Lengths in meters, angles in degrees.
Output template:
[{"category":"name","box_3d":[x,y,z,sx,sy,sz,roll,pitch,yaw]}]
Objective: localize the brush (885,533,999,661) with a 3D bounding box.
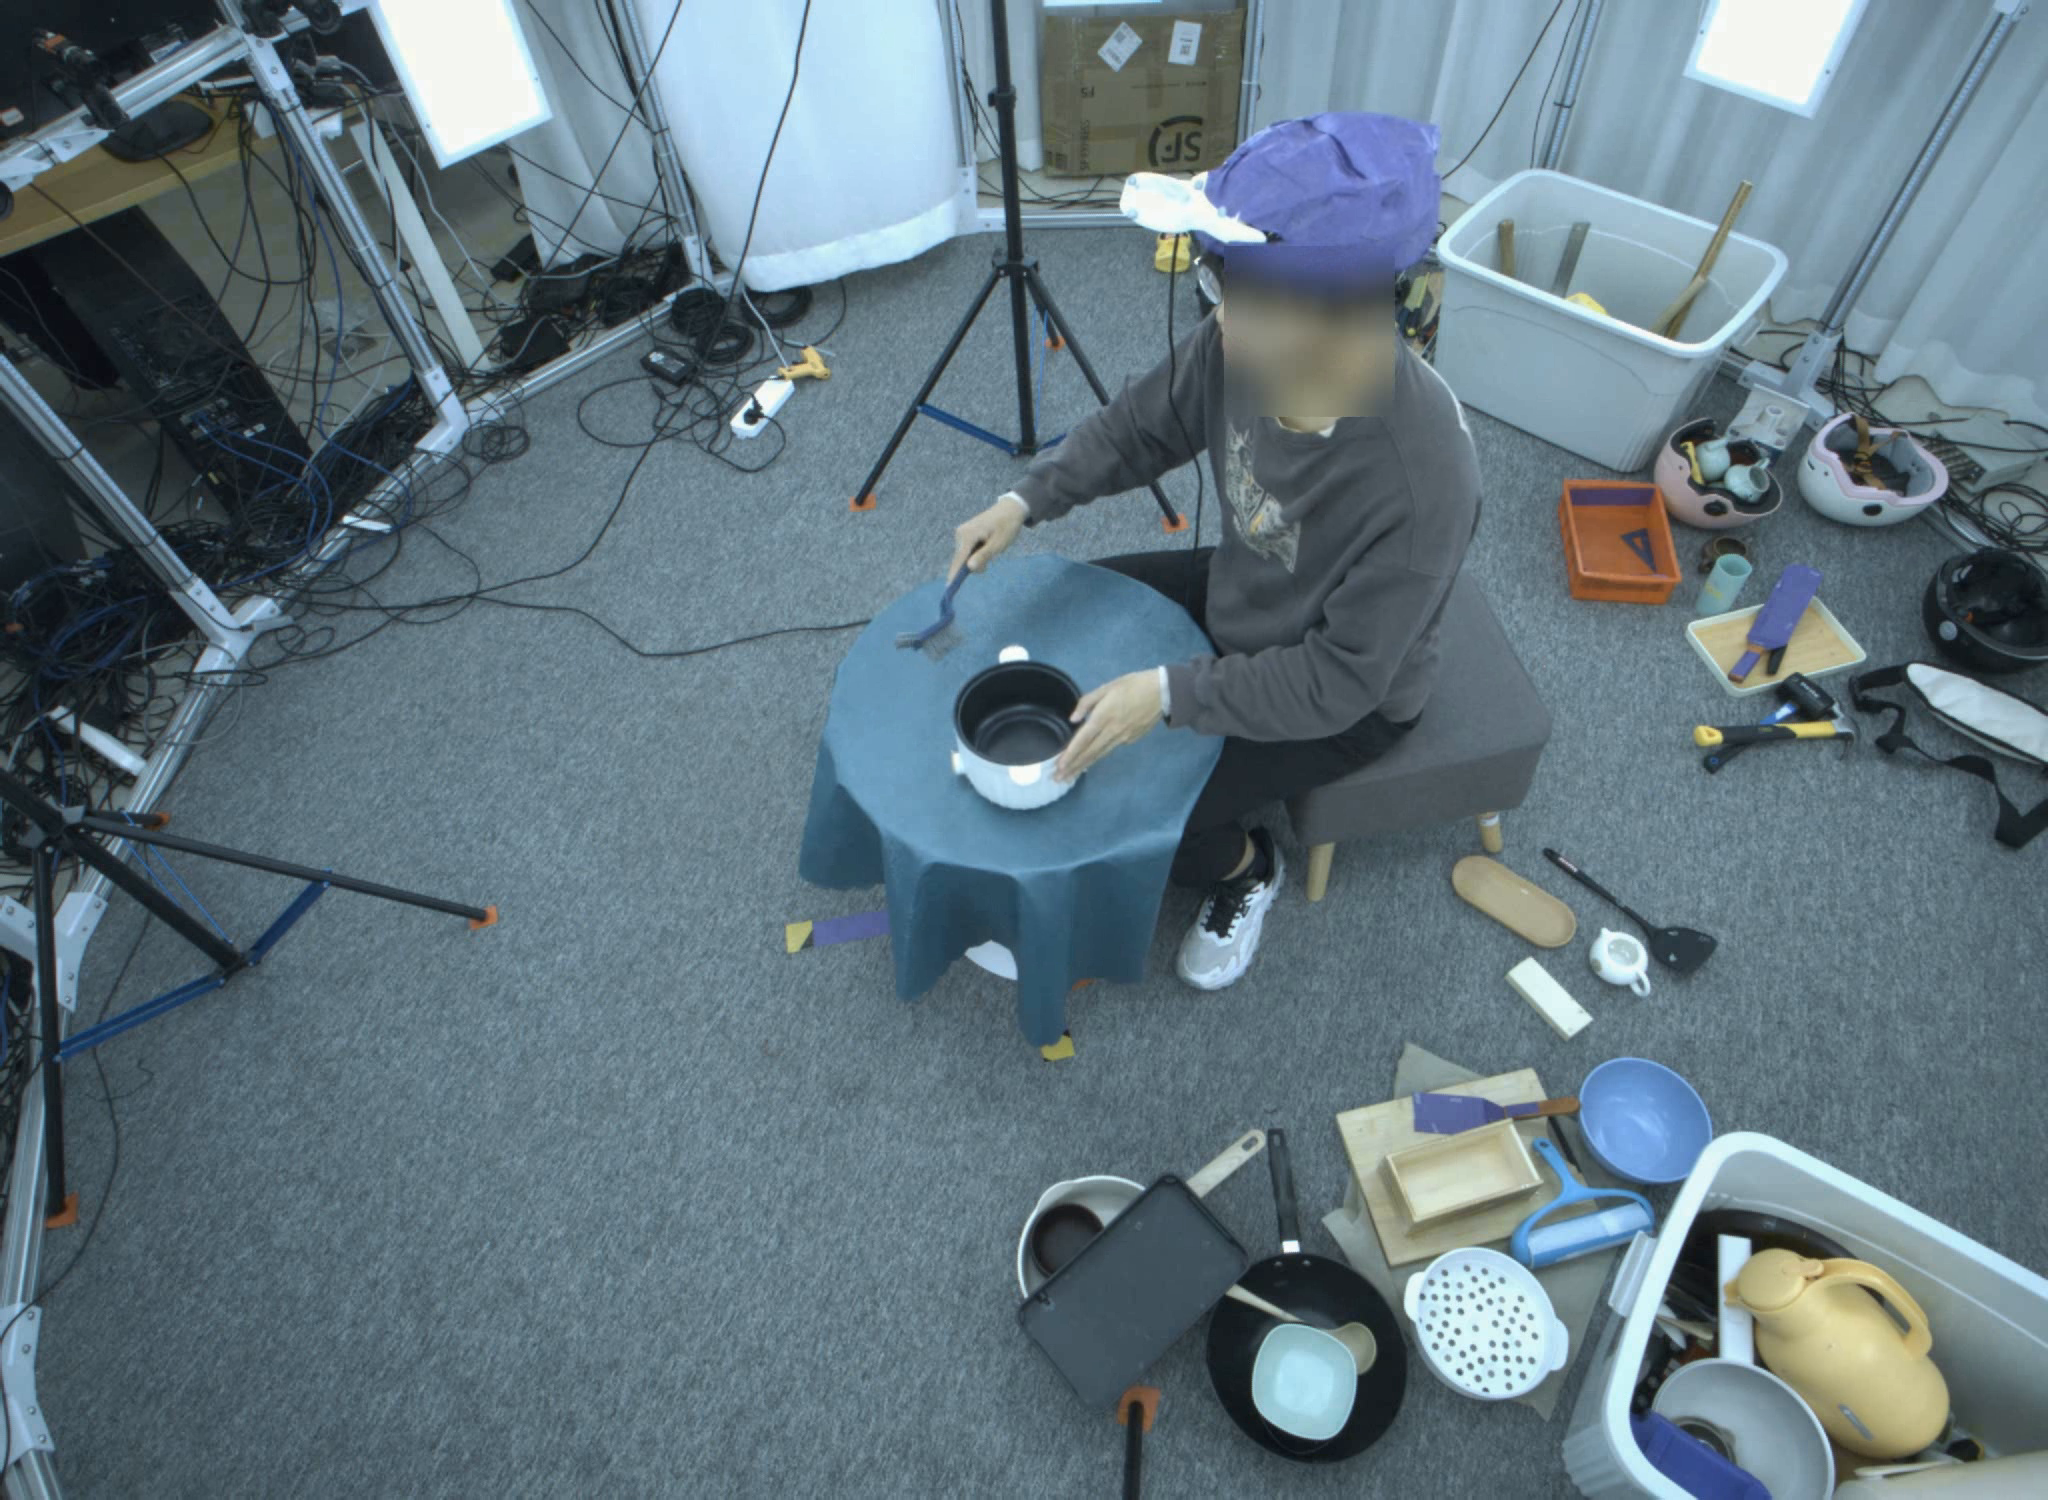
[{"category":"brush","box_3d":[-0.109,-0.228,1.737,0.096,0.033,0.272,27,50,-8]}]

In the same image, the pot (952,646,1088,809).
[{"category":"pot","box_3d":[-0.007,-0.012,1.707,0.191,0.144,0.237,-4,53,-4]}]
